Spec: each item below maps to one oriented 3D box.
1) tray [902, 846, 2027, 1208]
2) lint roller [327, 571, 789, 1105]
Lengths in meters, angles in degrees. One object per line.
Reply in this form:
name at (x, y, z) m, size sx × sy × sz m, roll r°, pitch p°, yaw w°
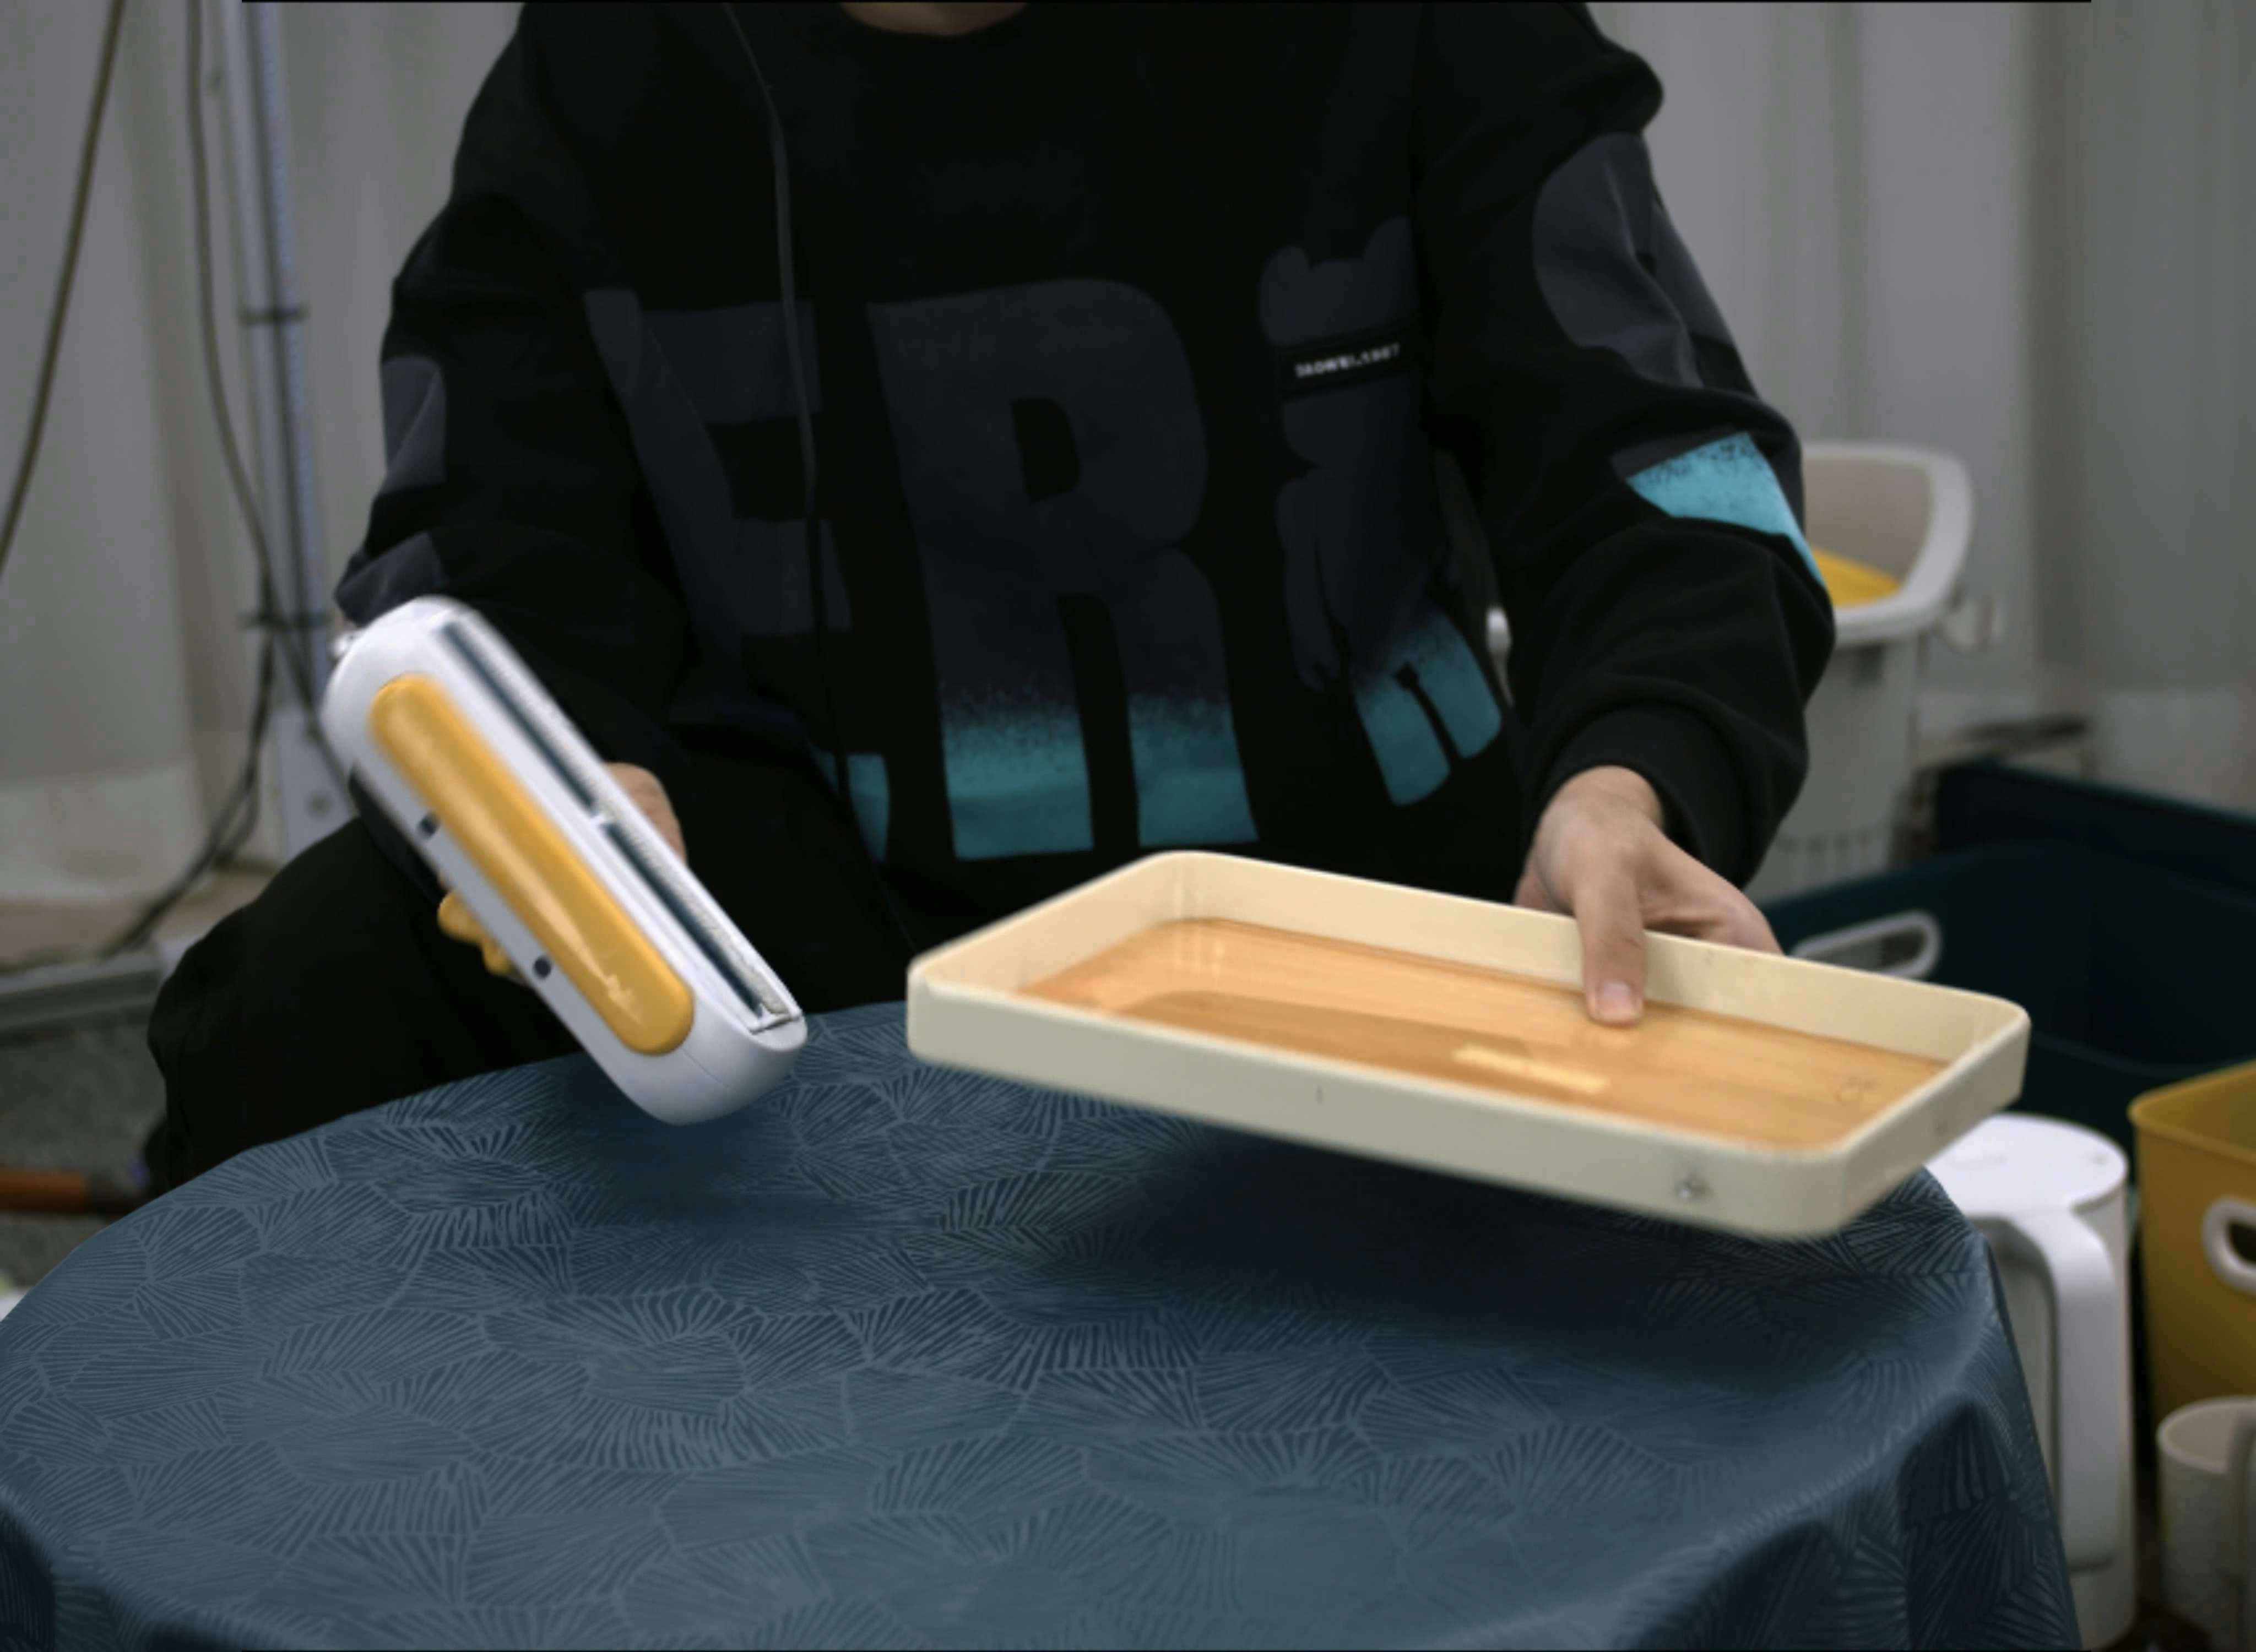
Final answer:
tray at (0.101, 0.057, 1.641) m, size 0.301 × 0.027 × 0.191 m, roll 10°, pitch 14°, yaw 26°
lint roller at (-0.171, 0.014, 1.775) m, size 0.074 × 0.194 × 0.191 m, roll -42°, pitch -13°, yaw 6°
